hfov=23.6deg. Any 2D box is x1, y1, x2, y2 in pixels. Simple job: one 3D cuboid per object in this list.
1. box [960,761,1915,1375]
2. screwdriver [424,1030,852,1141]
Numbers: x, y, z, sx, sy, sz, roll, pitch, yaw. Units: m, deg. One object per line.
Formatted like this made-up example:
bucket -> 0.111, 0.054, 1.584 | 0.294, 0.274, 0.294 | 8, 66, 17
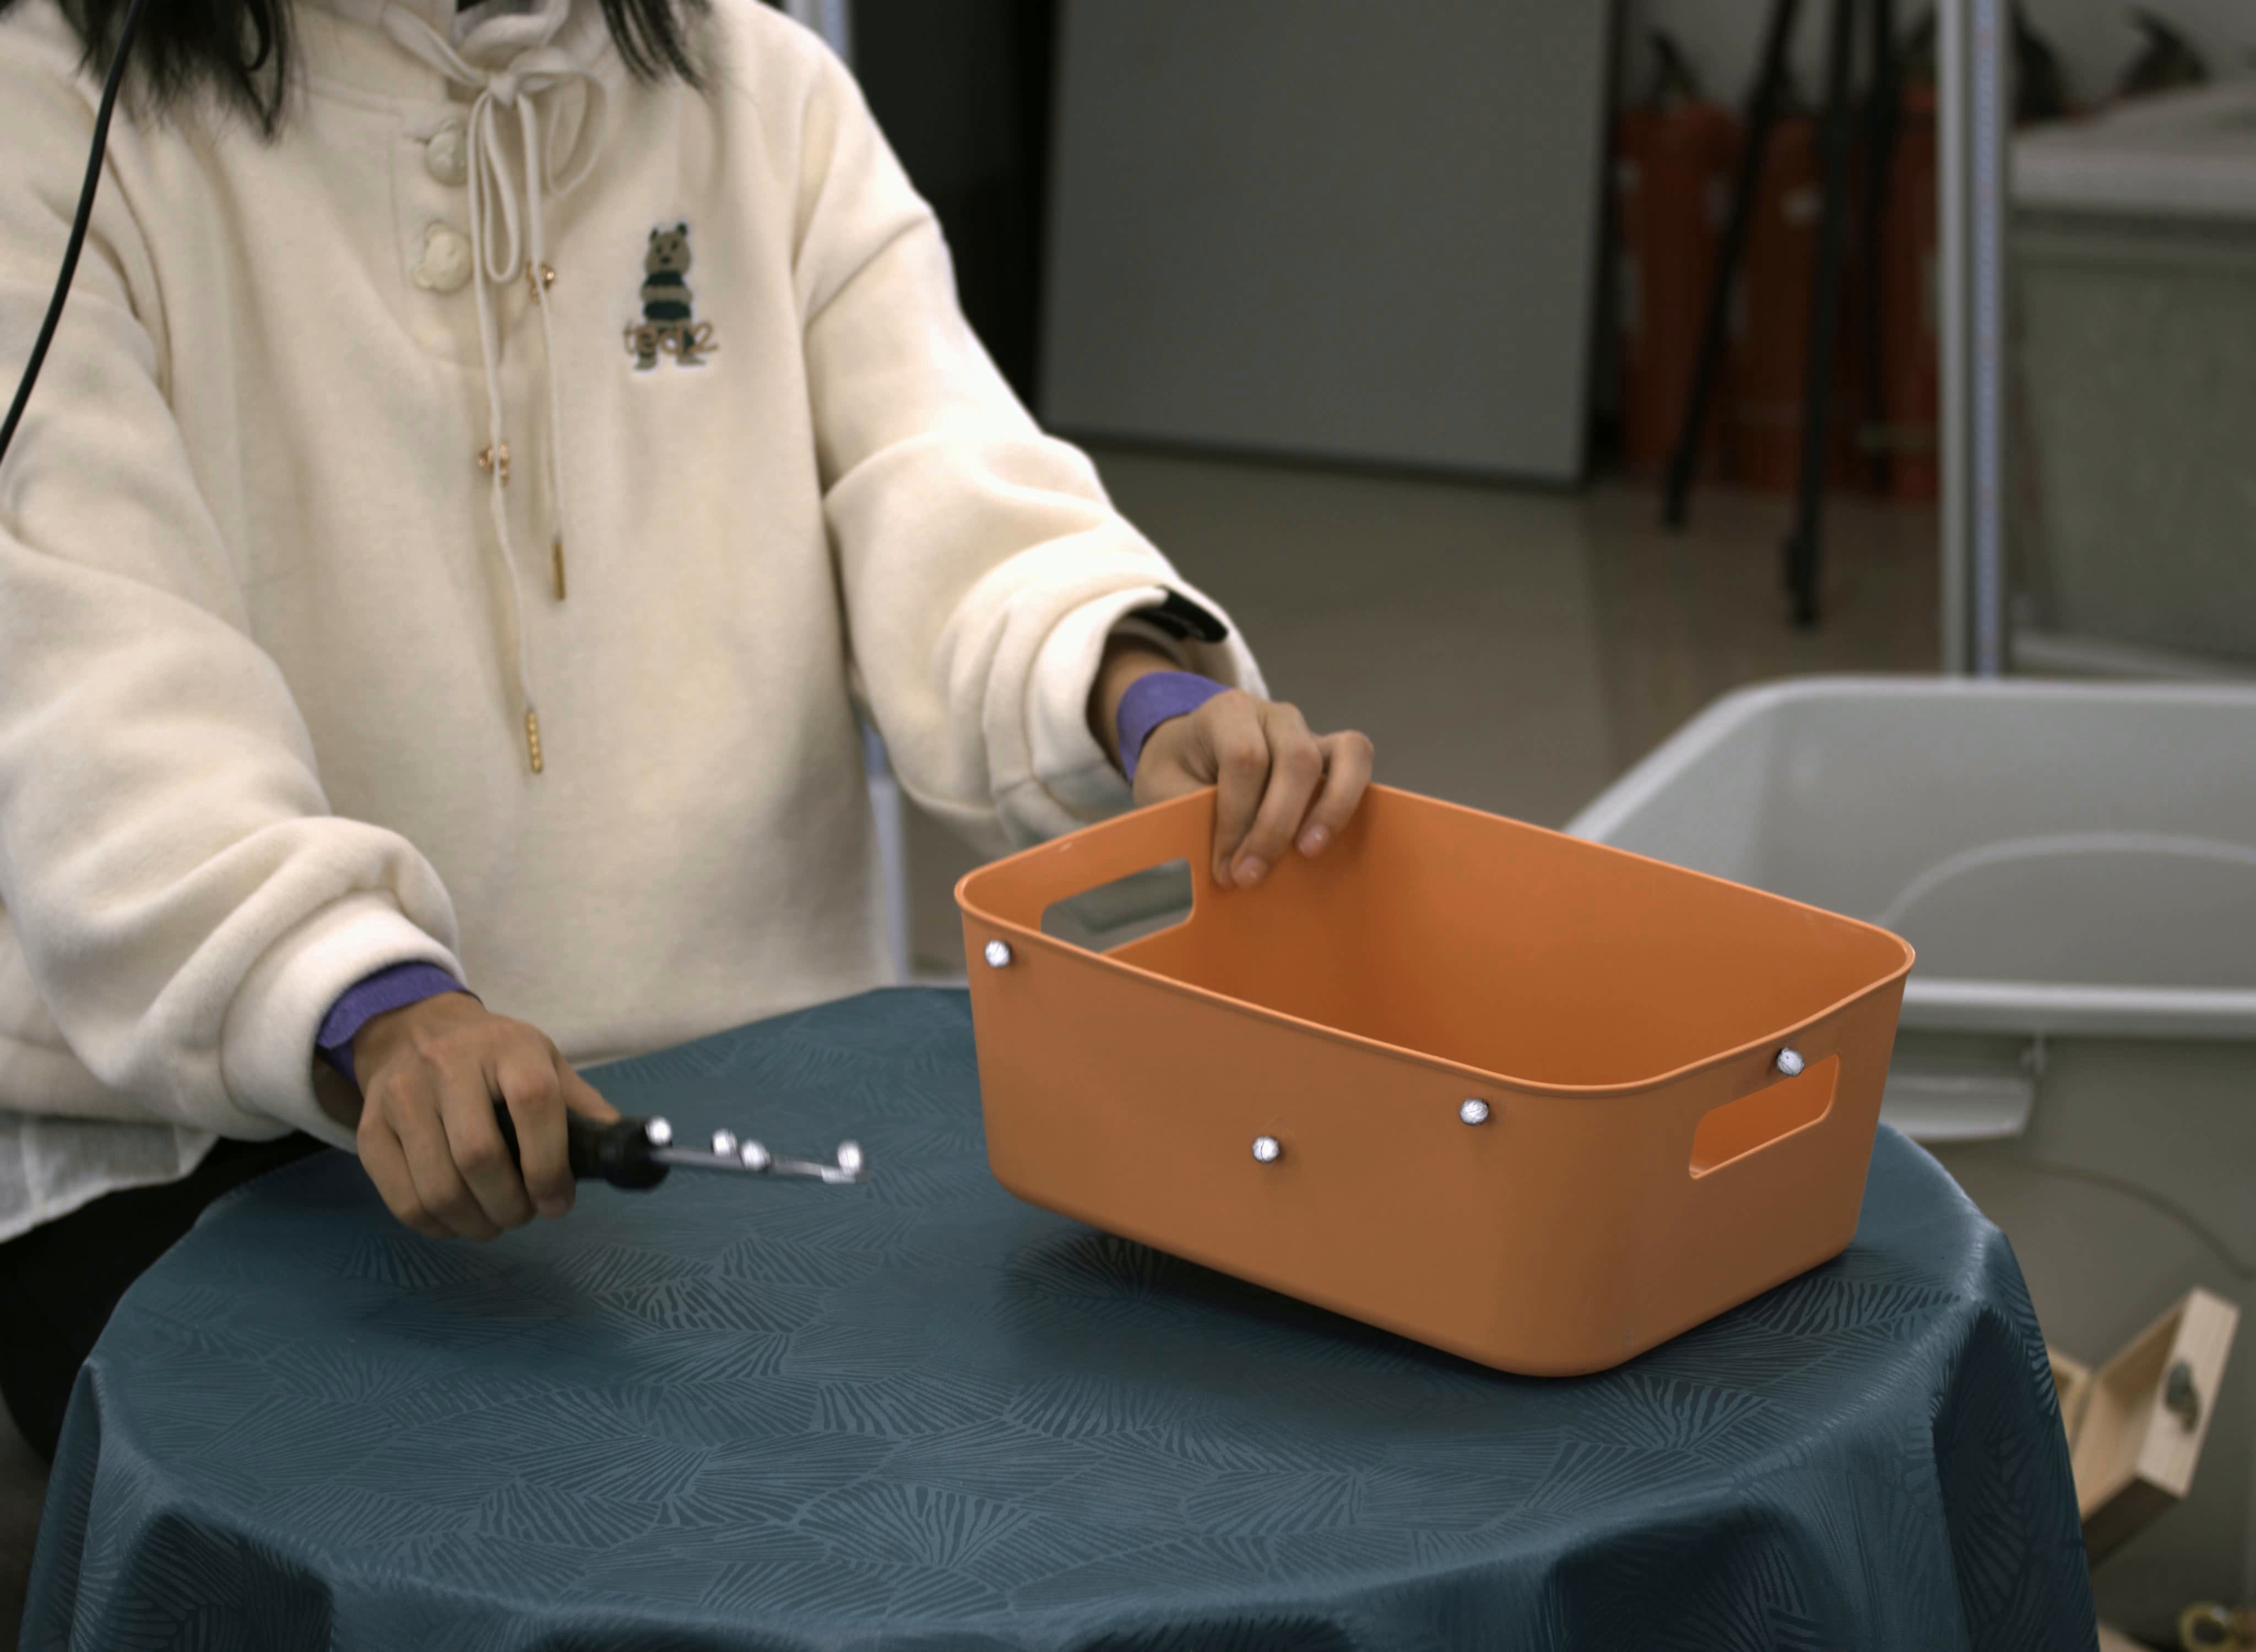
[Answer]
box -> 0.093, 0.072, 1.673 | 0.275, 0.103, 0.195 | 16, 24, 39
screwdriver -> -0.148, 0.085, 1.660 | 0.199, 0.032, 0.031 | 6, 16, 44
